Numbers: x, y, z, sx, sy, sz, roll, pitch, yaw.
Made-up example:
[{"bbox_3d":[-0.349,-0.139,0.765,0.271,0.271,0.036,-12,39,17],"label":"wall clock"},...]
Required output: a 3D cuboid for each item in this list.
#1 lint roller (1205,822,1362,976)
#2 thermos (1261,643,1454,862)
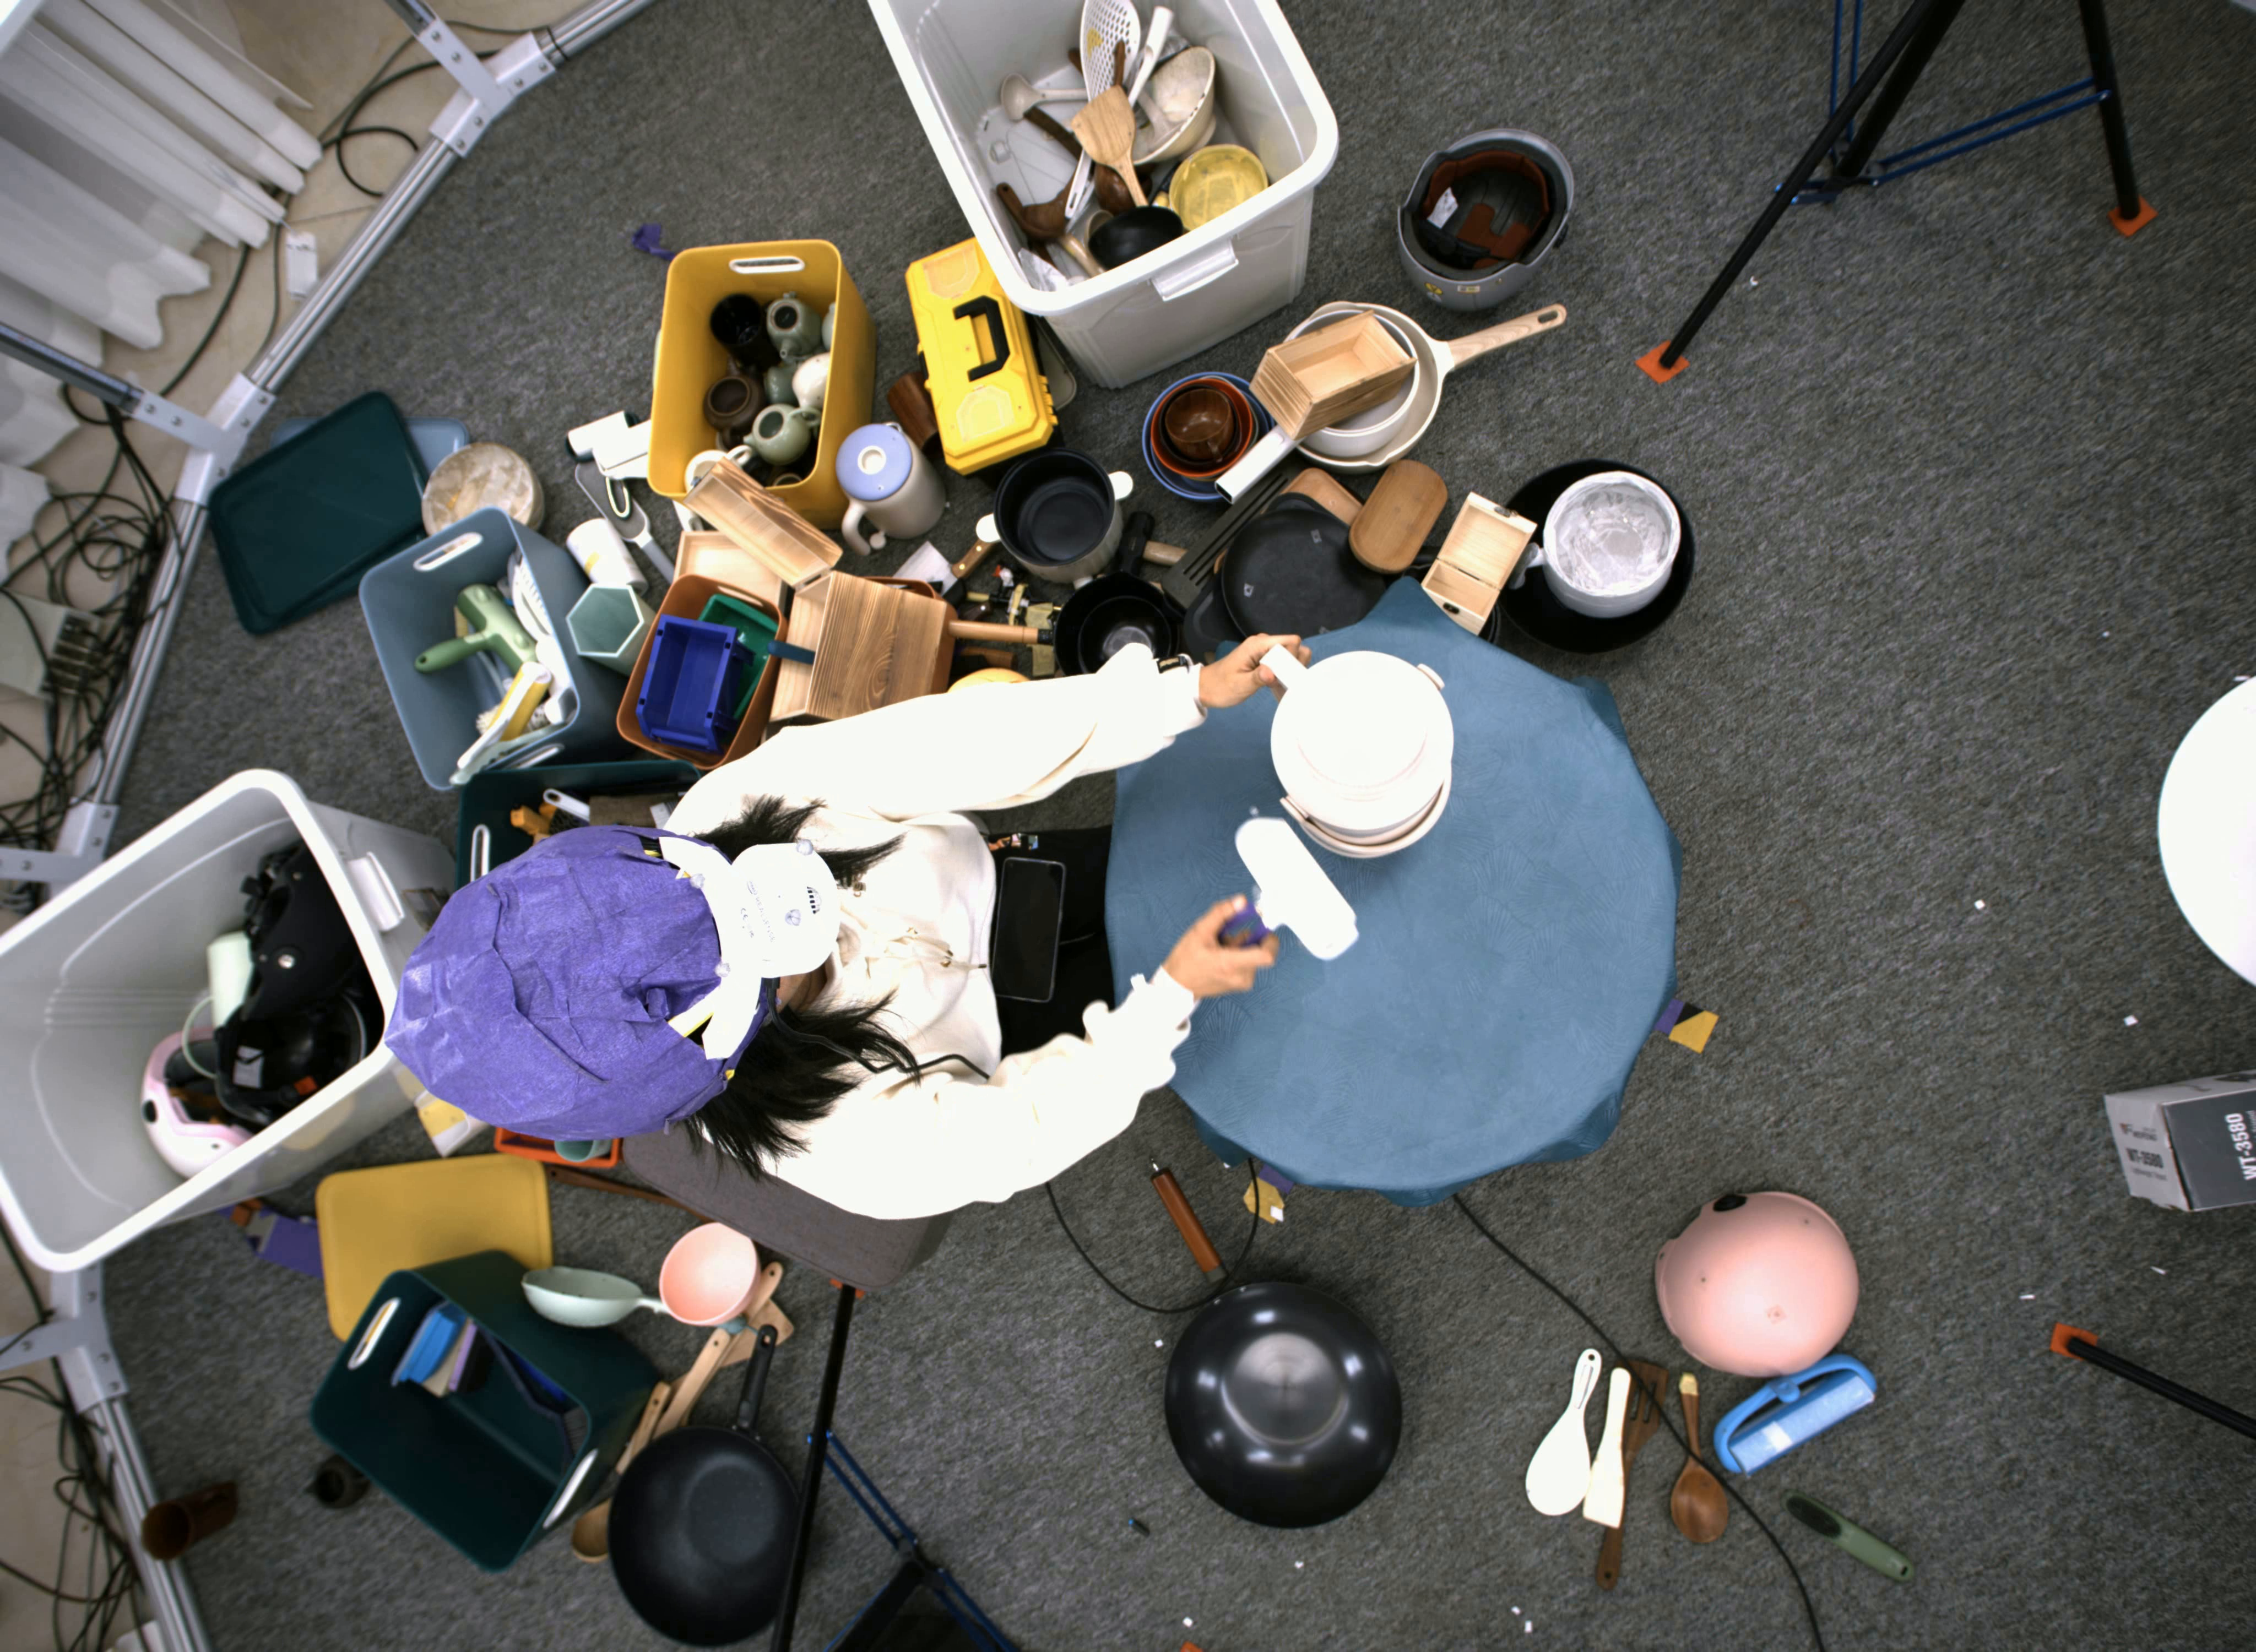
[{"bbox_3d":[0.113,0.088,1.224,0.132,0.049,0.185,55,132,7],"label":"lint roller"},{"bbox_3d":[0.209,-0.075,1.279,0.176,0.407,0.206,-45,79,4],"label":"thermos"}]
